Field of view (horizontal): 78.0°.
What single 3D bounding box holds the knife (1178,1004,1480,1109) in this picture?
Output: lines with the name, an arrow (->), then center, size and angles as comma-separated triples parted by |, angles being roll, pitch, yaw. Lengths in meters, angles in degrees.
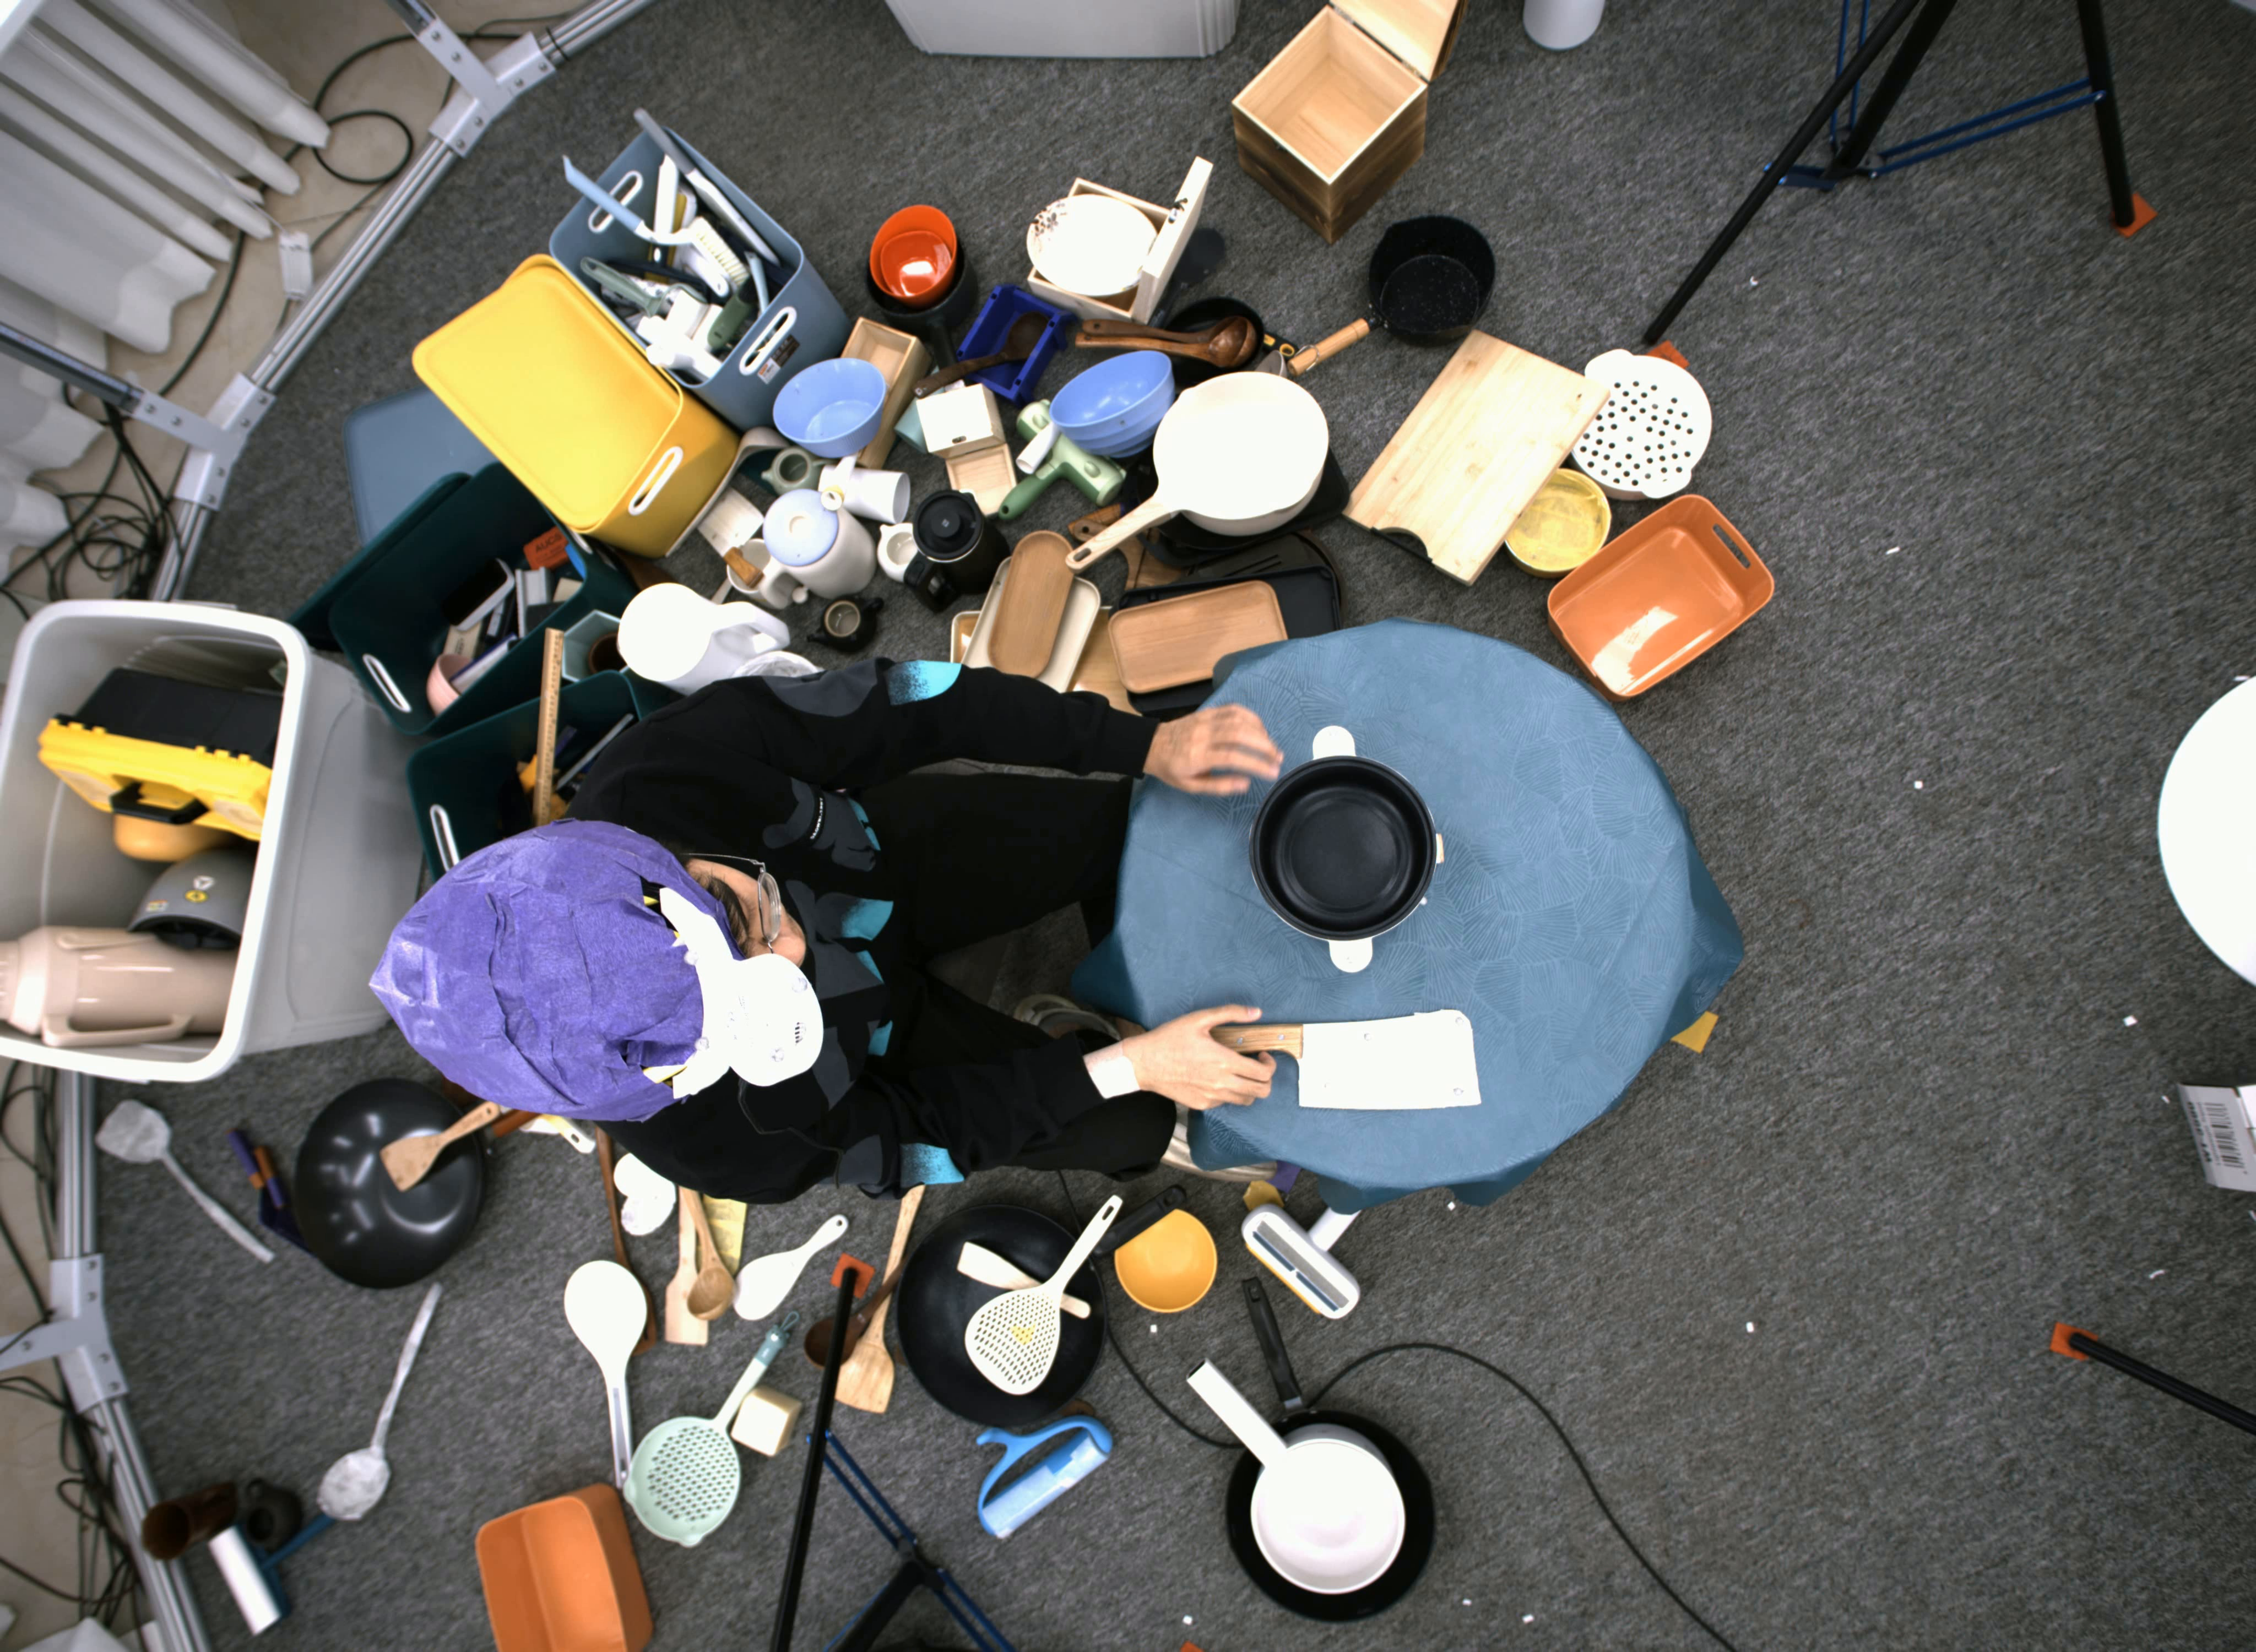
knife -> 0.210, 0.239, 1.453 | 0.316, 0.022, 0.113 | 1, 87, 8

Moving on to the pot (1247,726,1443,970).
pot -> 0.222, 0.024, 1.401 | 0.191, 0.142, 0.239 | -6, 86, 13
